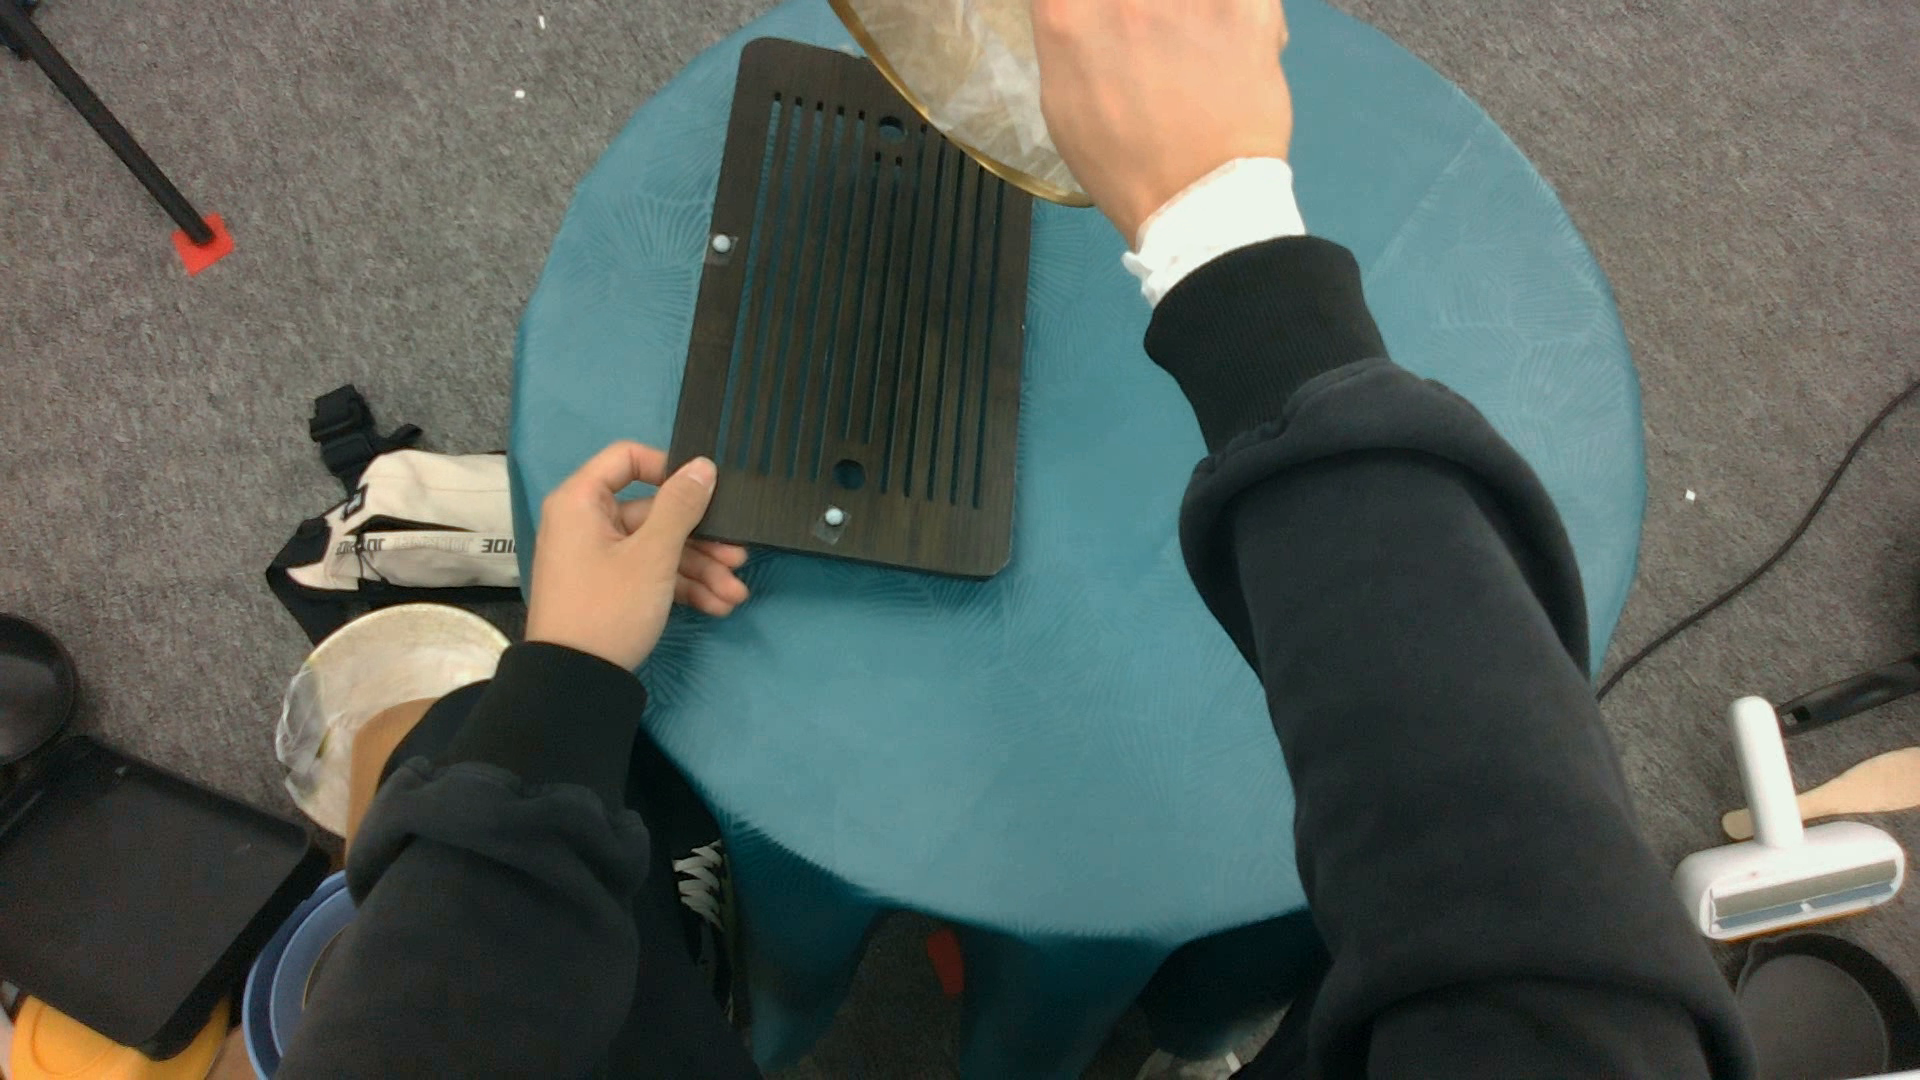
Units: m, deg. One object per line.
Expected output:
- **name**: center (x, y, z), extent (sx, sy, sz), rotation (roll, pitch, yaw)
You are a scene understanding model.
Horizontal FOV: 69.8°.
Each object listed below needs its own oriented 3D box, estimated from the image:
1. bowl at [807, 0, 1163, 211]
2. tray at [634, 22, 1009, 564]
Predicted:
- **bowl**: center (0.015, -0.249, 0.585), extent (0.215, 0.214, 0.095), rotation (40, 81, 13)
- **tray**: center (-0.062, -0.136, 0.718), extent (0.170, 0.018, 0.307), rotation (9, 65, -10)
